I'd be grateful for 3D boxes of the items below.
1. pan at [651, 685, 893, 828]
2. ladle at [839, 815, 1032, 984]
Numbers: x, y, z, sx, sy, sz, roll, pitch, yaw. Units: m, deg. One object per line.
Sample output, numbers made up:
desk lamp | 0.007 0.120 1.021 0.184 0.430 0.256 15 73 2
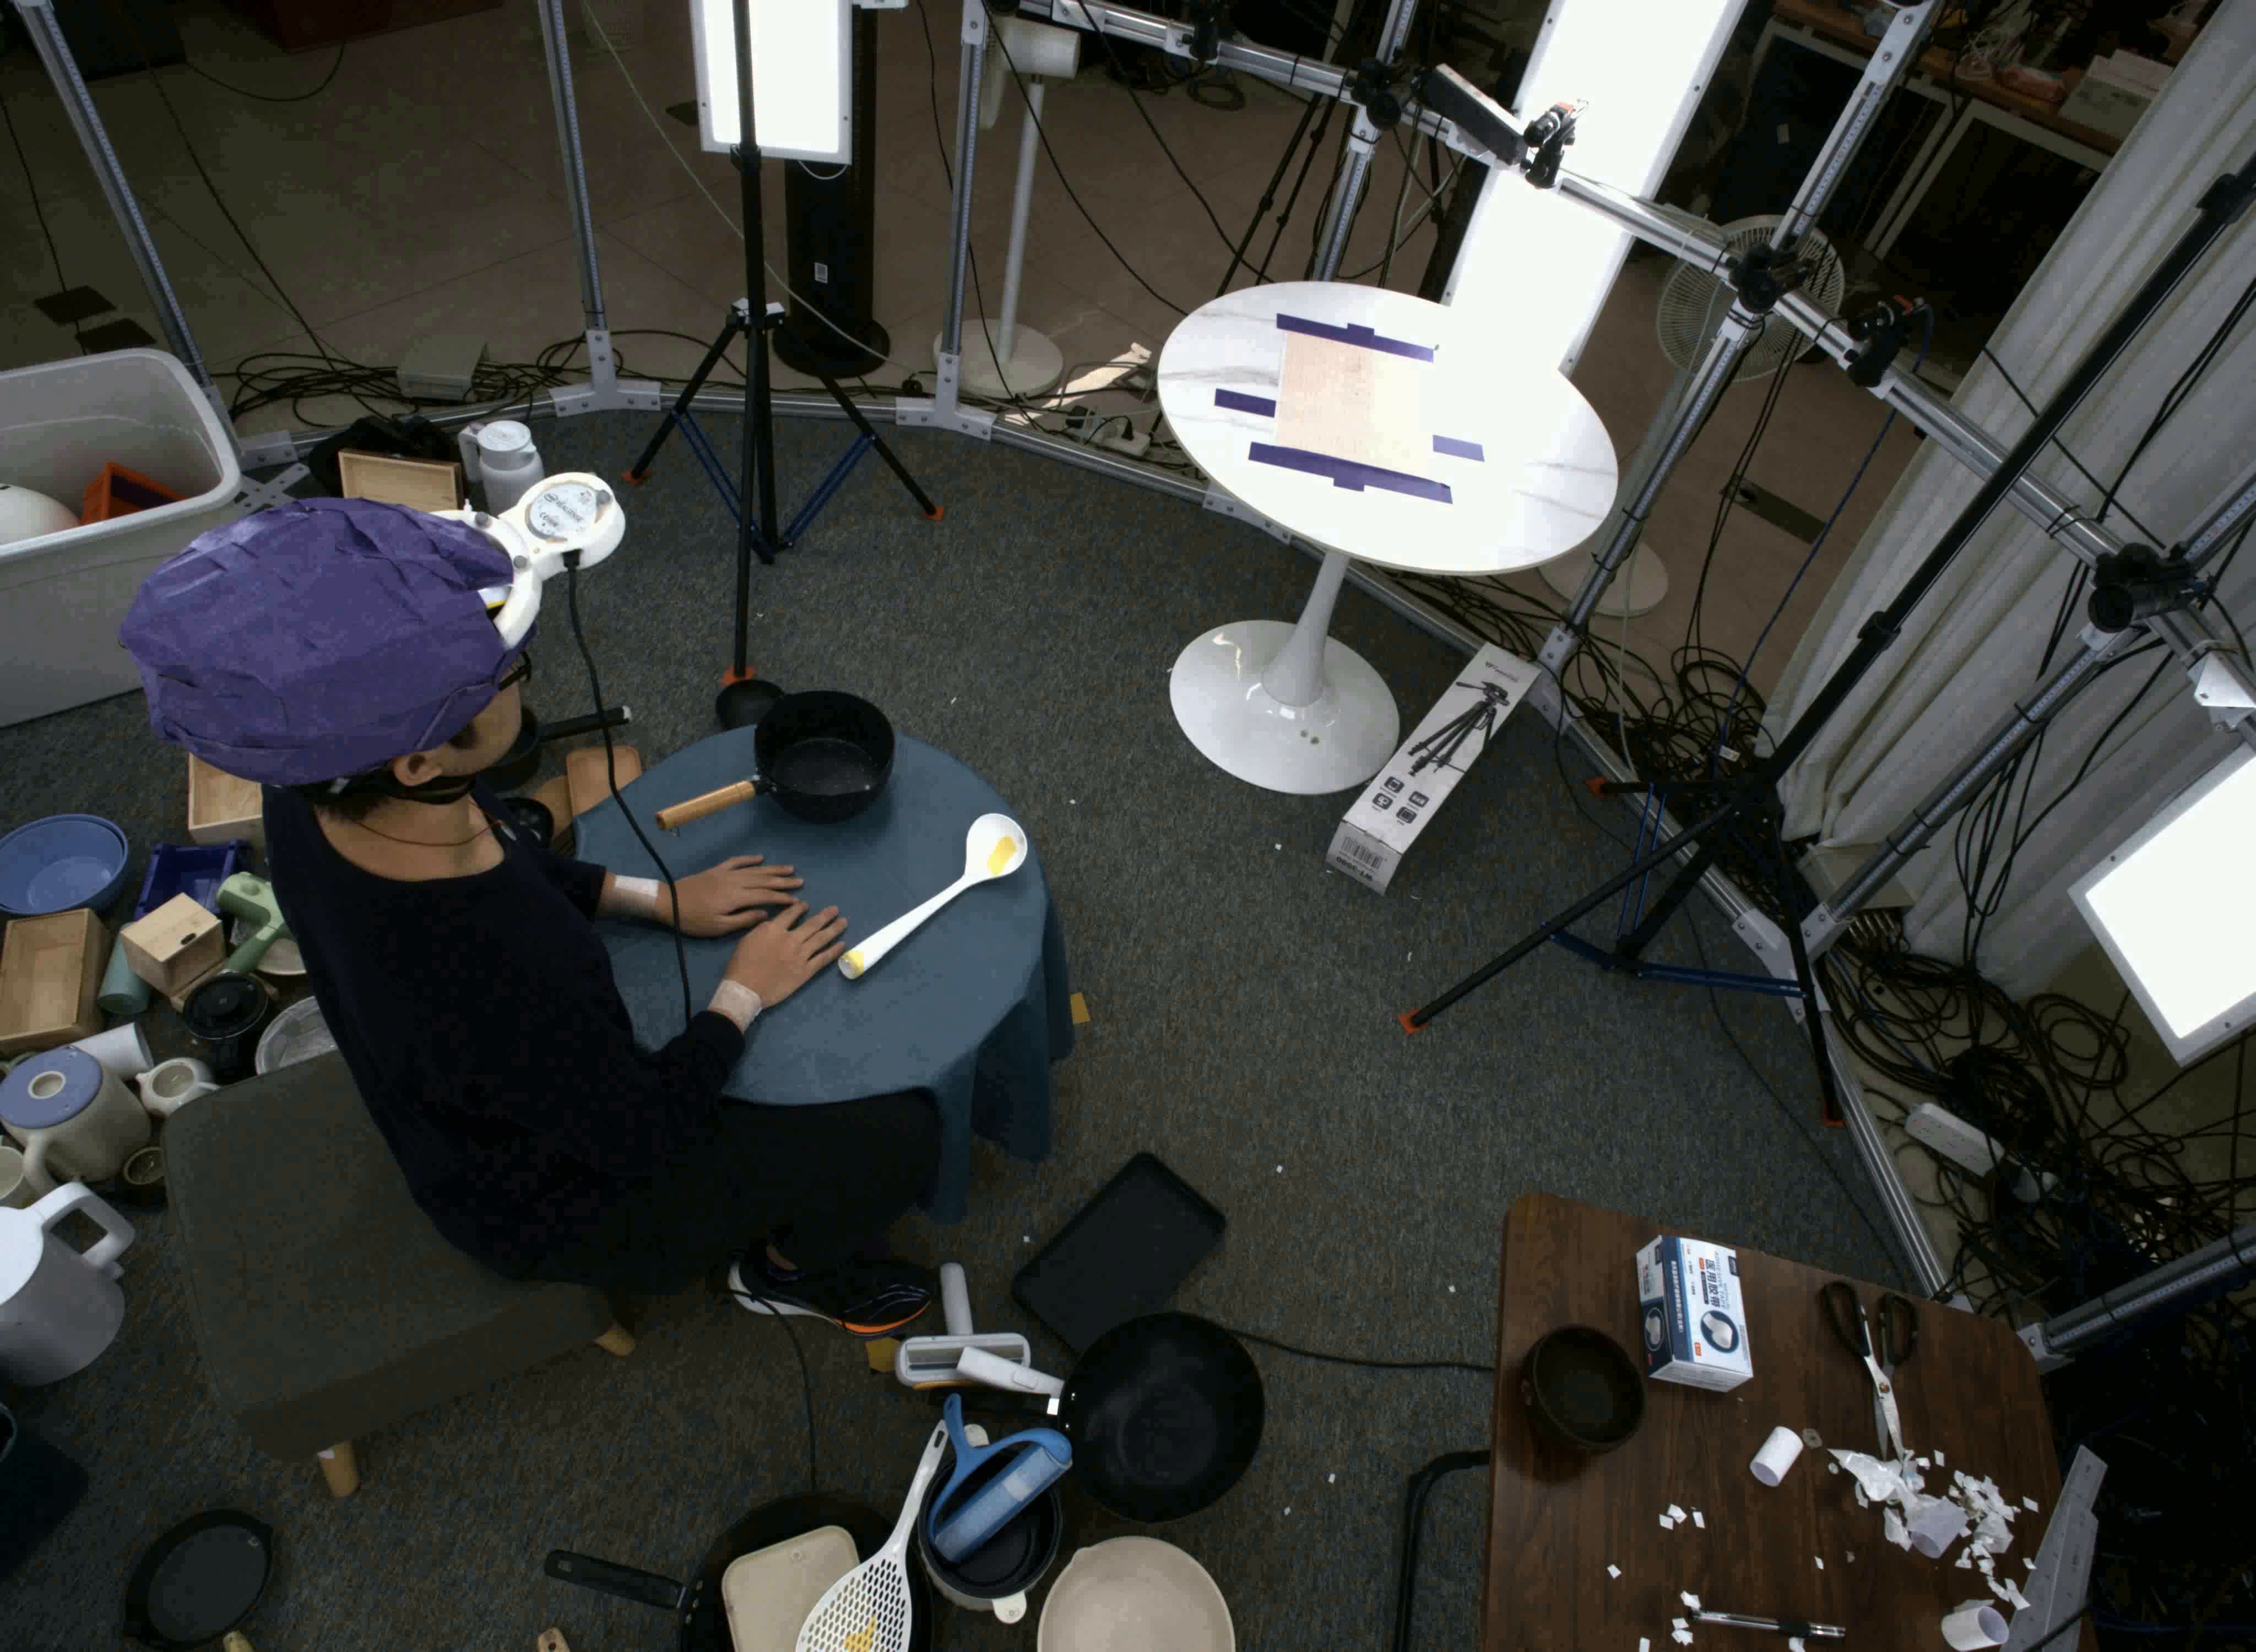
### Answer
pan | -0.460 -0.058 1.678 0.203 0.110 0.344 43 54 17
ladle | -0.244 0.093 1.651 0.089 0.071 0.293 44 56 13
